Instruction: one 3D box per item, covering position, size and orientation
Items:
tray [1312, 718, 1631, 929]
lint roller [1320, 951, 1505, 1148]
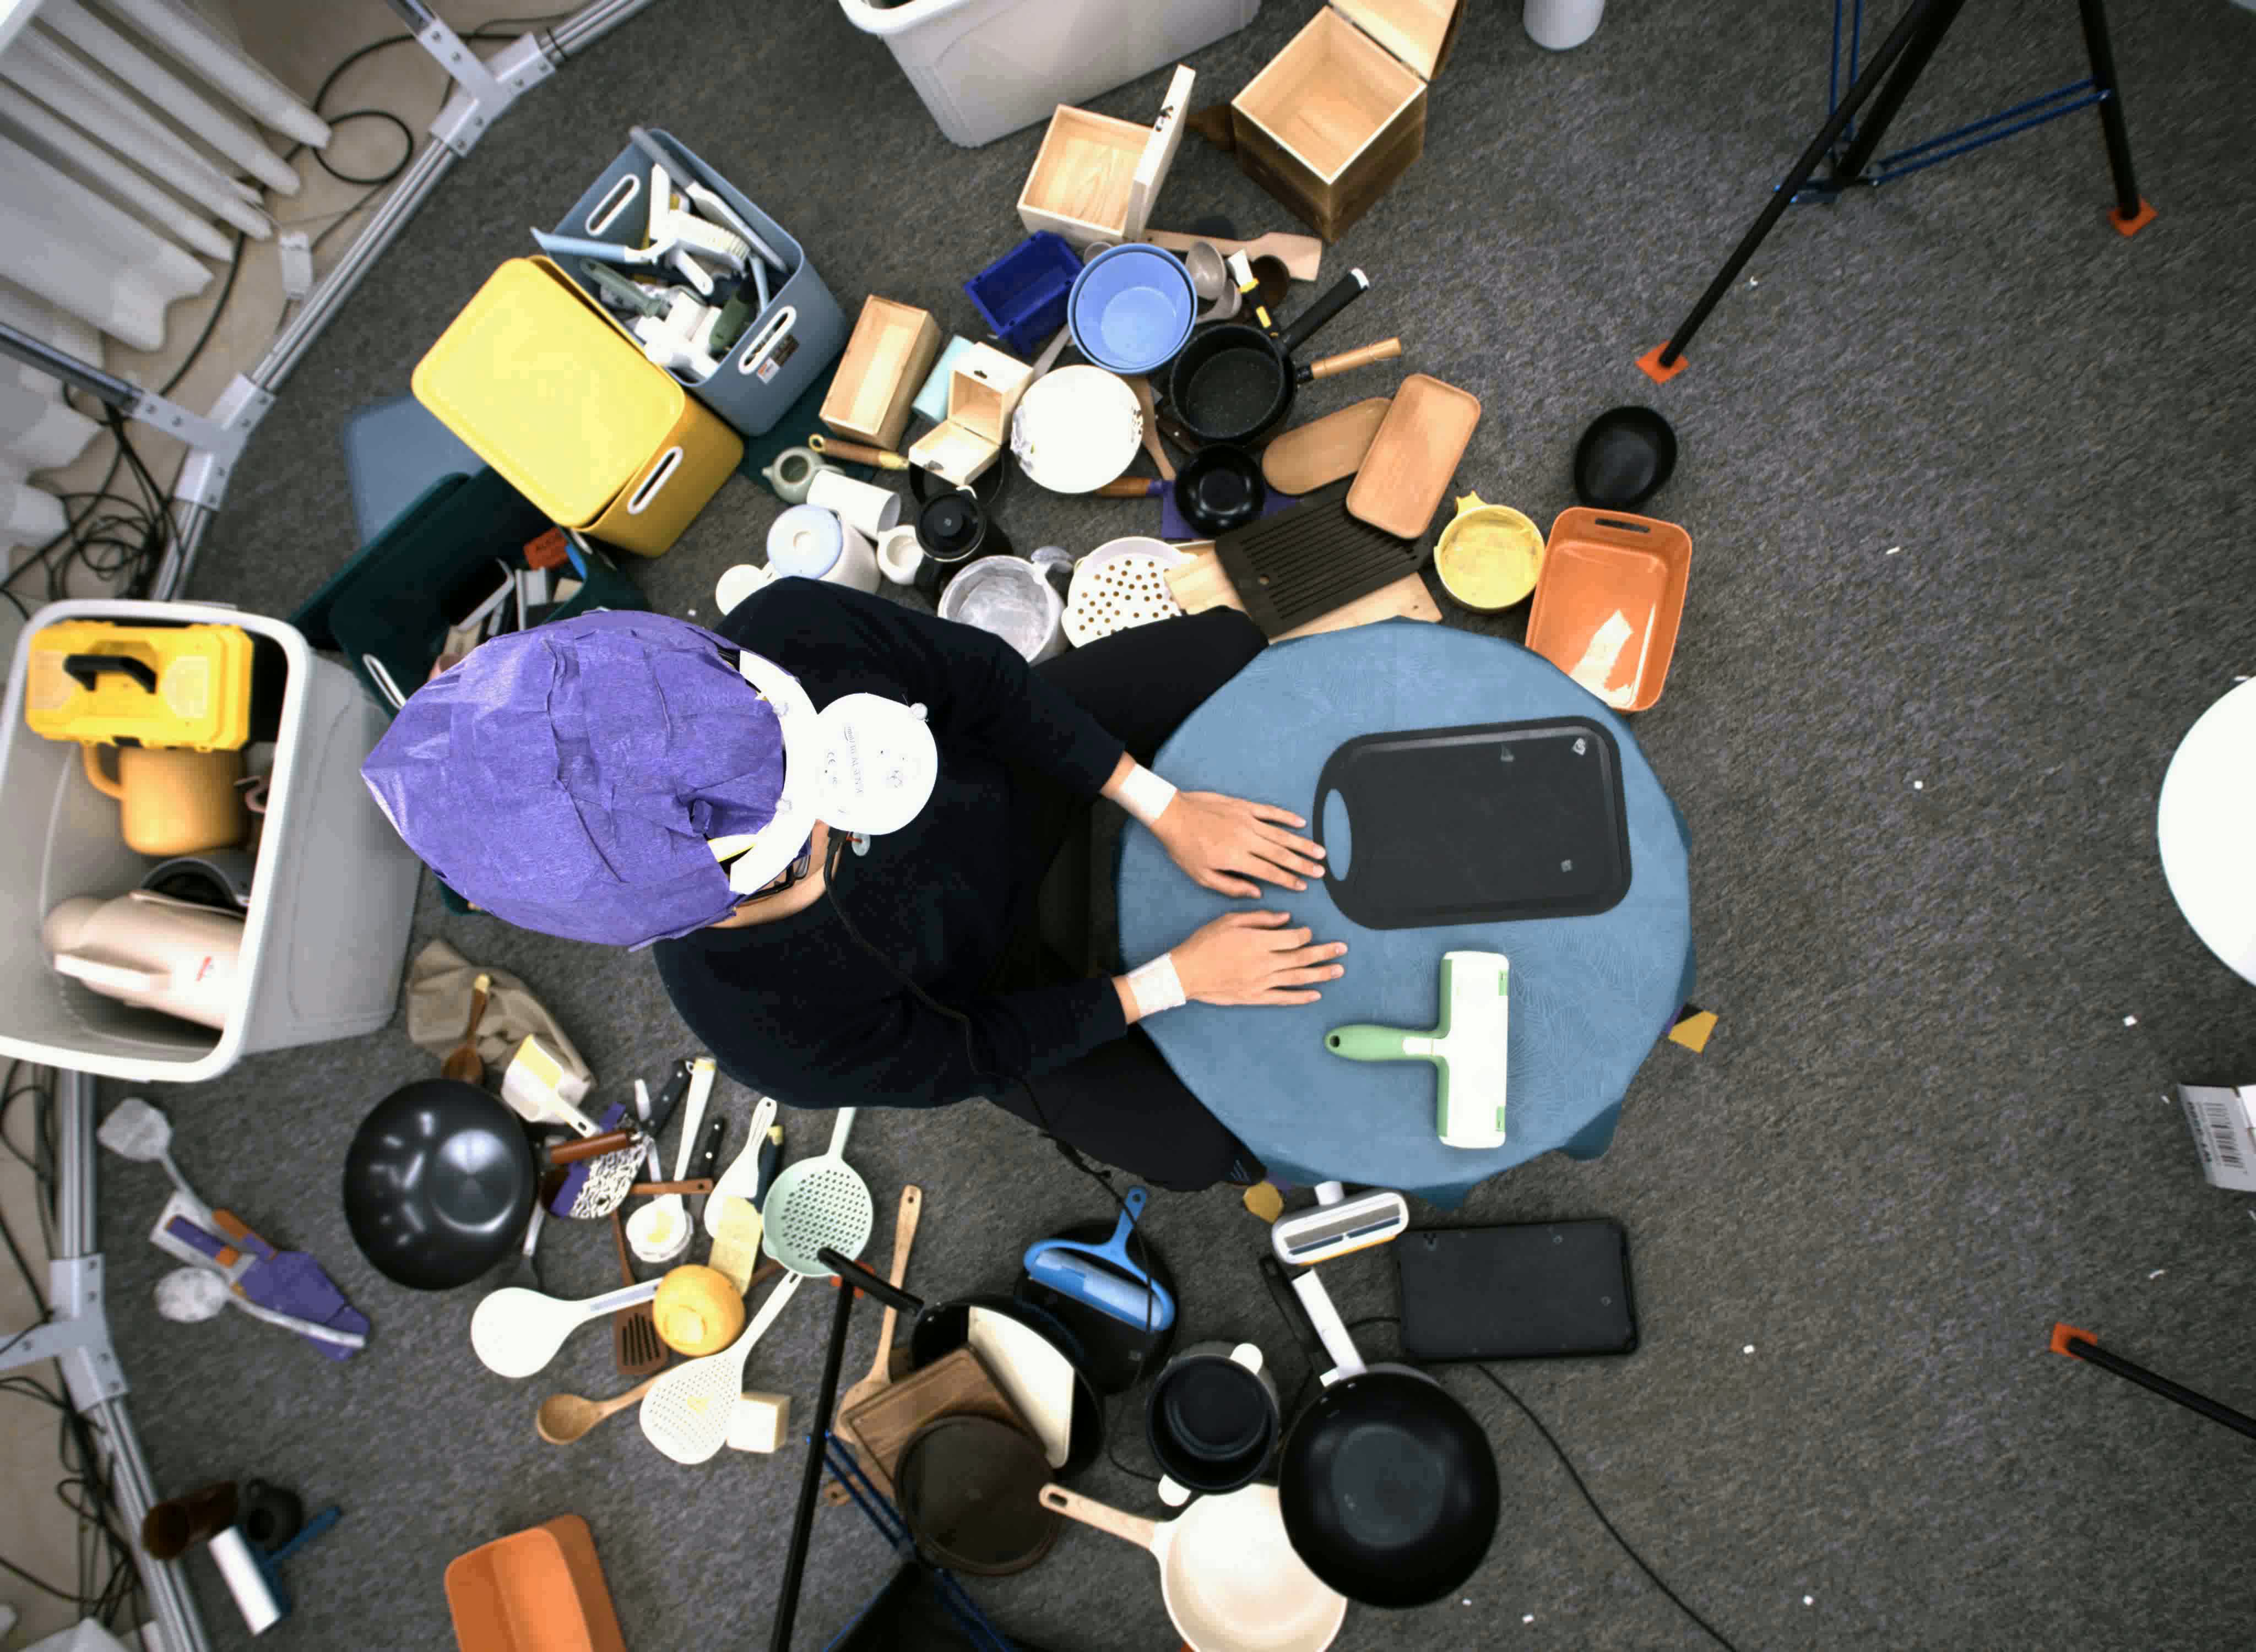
[{"bbox_3d":[0.357,-0.004,1.445,0.327,0.010,0.210,-4,86,10],"label":"tray"},{"bbox_3d":[0.290,0.222,1.404,0.184,0.082,0.197,2,86,4],"label":"lint roller"}]
